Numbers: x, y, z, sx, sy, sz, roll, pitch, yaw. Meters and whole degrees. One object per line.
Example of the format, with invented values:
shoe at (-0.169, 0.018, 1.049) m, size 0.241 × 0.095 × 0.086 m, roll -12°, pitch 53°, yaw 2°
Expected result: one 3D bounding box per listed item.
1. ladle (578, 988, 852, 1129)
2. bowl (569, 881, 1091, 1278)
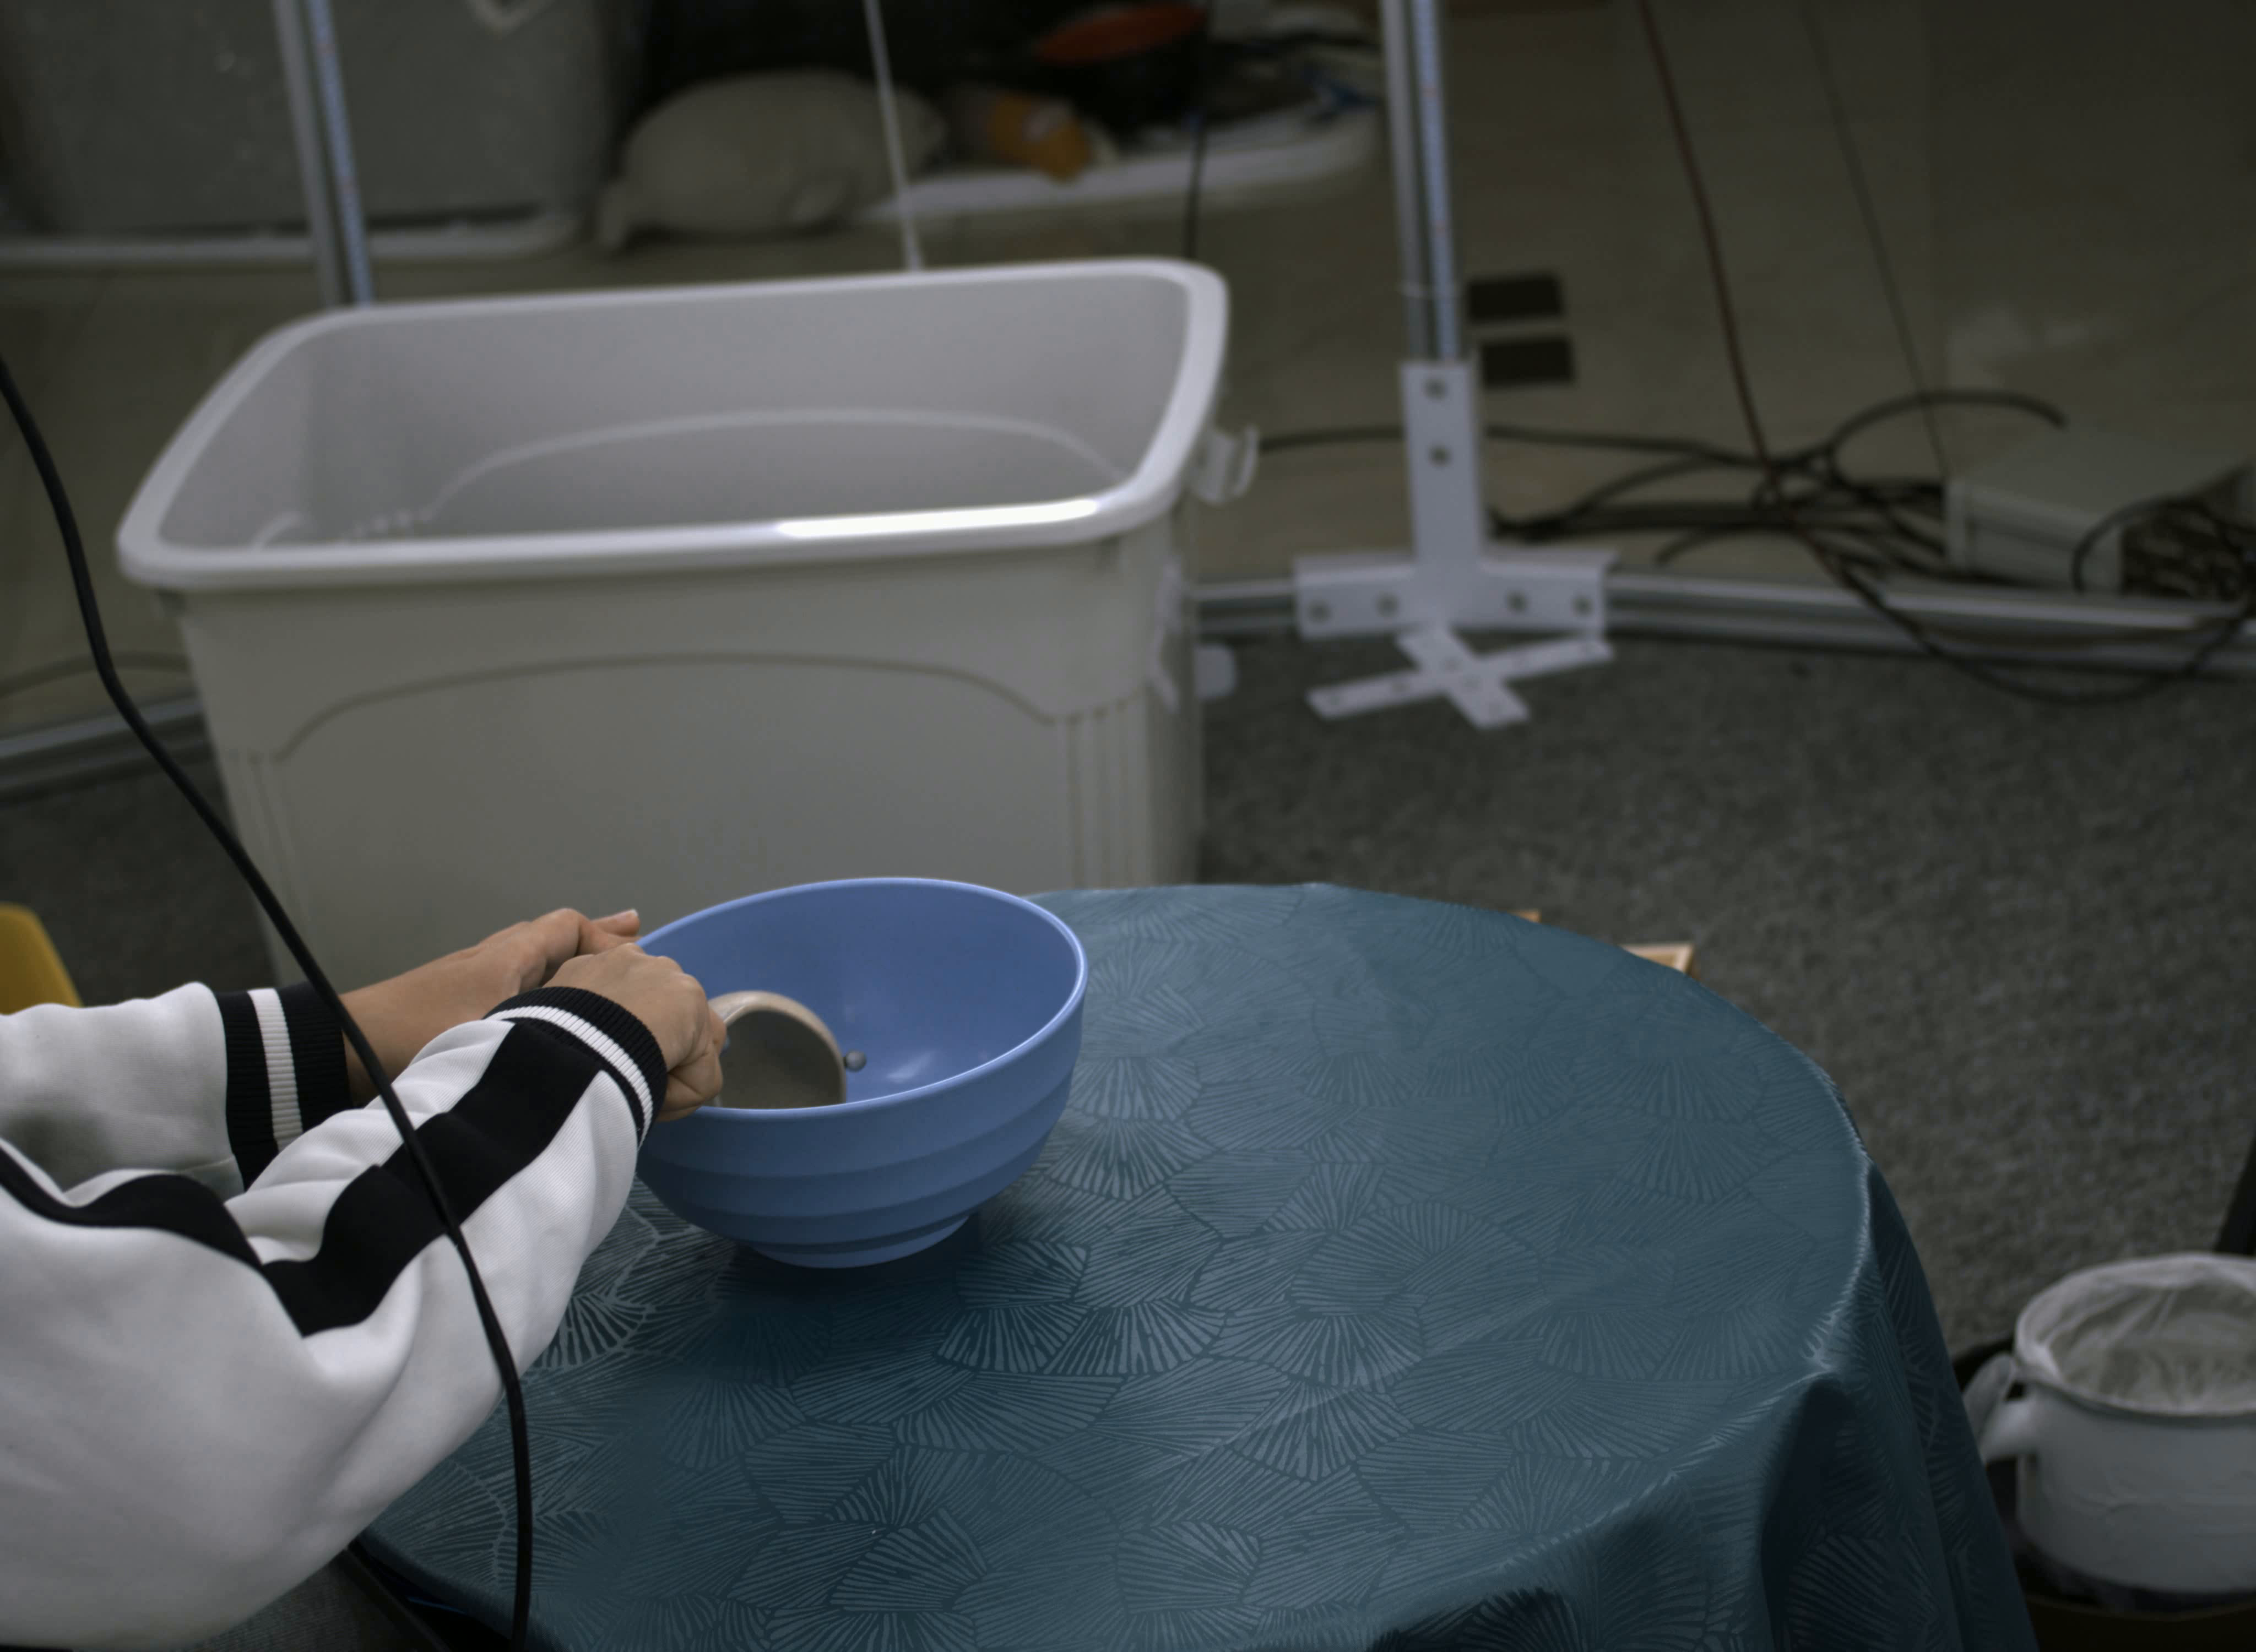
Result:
ladle at (-0.156, 0.105, 2.057) m, size 0.072 × 0.073 × 0.253 m, roll -6°, pitch 4°, yaw 10°
bowl at (-0.107, 0.107, 2.139) m, size 0.196 × 0.097 × 0.193 m, roll -5°, pitch 27°, yaw 3°
